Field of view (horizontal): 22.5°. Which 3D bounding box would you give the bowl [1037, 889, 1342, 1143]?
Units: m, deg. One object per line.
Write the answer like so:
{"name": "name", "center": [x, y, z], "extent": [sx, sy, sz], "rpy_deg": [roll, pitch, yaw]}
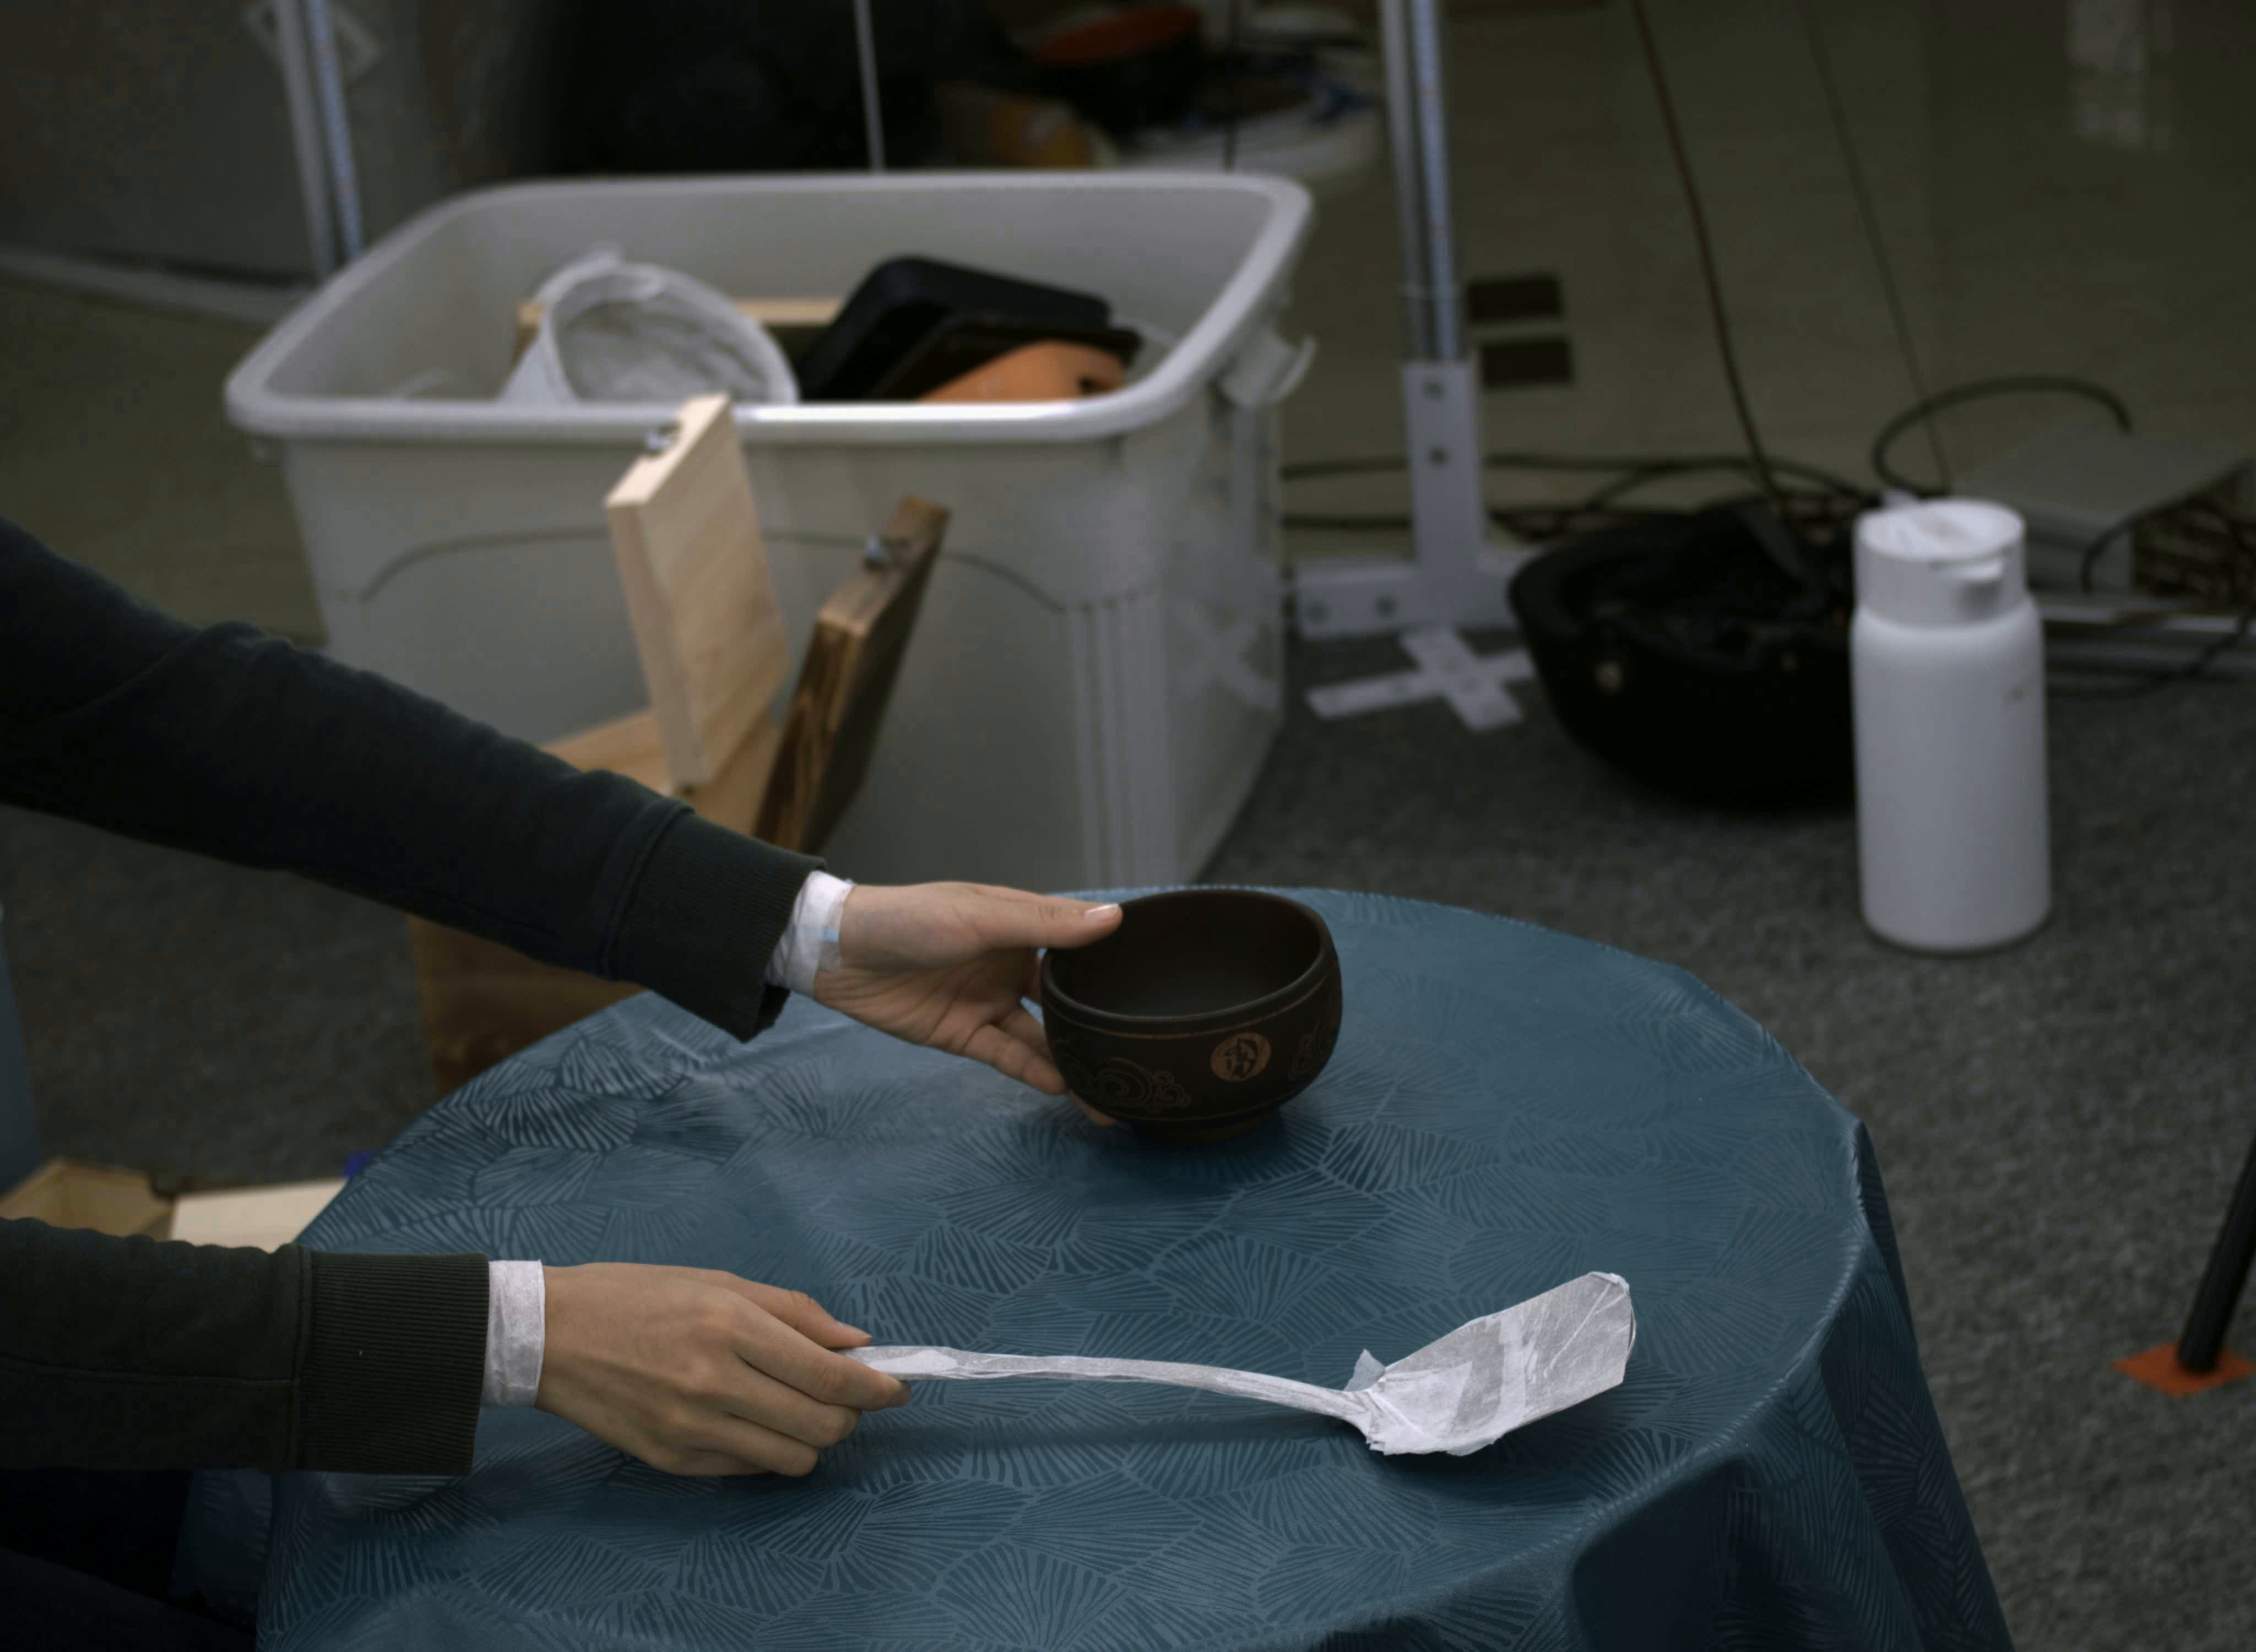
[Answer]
{"name": "bowl", "center": [0.026, 0.079, 2.190], "extent": [0.118, 0.071, 0.116], "rpy_deg": [-6, 23, 3]}

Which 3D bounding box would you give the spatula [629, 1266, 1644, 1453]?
{"name": "spatula", "center": [-0.002, 0.186, 1.991], "extent": [0.364, 0.045, 0.097], "rpy_deg": [2, 25, 8]}
